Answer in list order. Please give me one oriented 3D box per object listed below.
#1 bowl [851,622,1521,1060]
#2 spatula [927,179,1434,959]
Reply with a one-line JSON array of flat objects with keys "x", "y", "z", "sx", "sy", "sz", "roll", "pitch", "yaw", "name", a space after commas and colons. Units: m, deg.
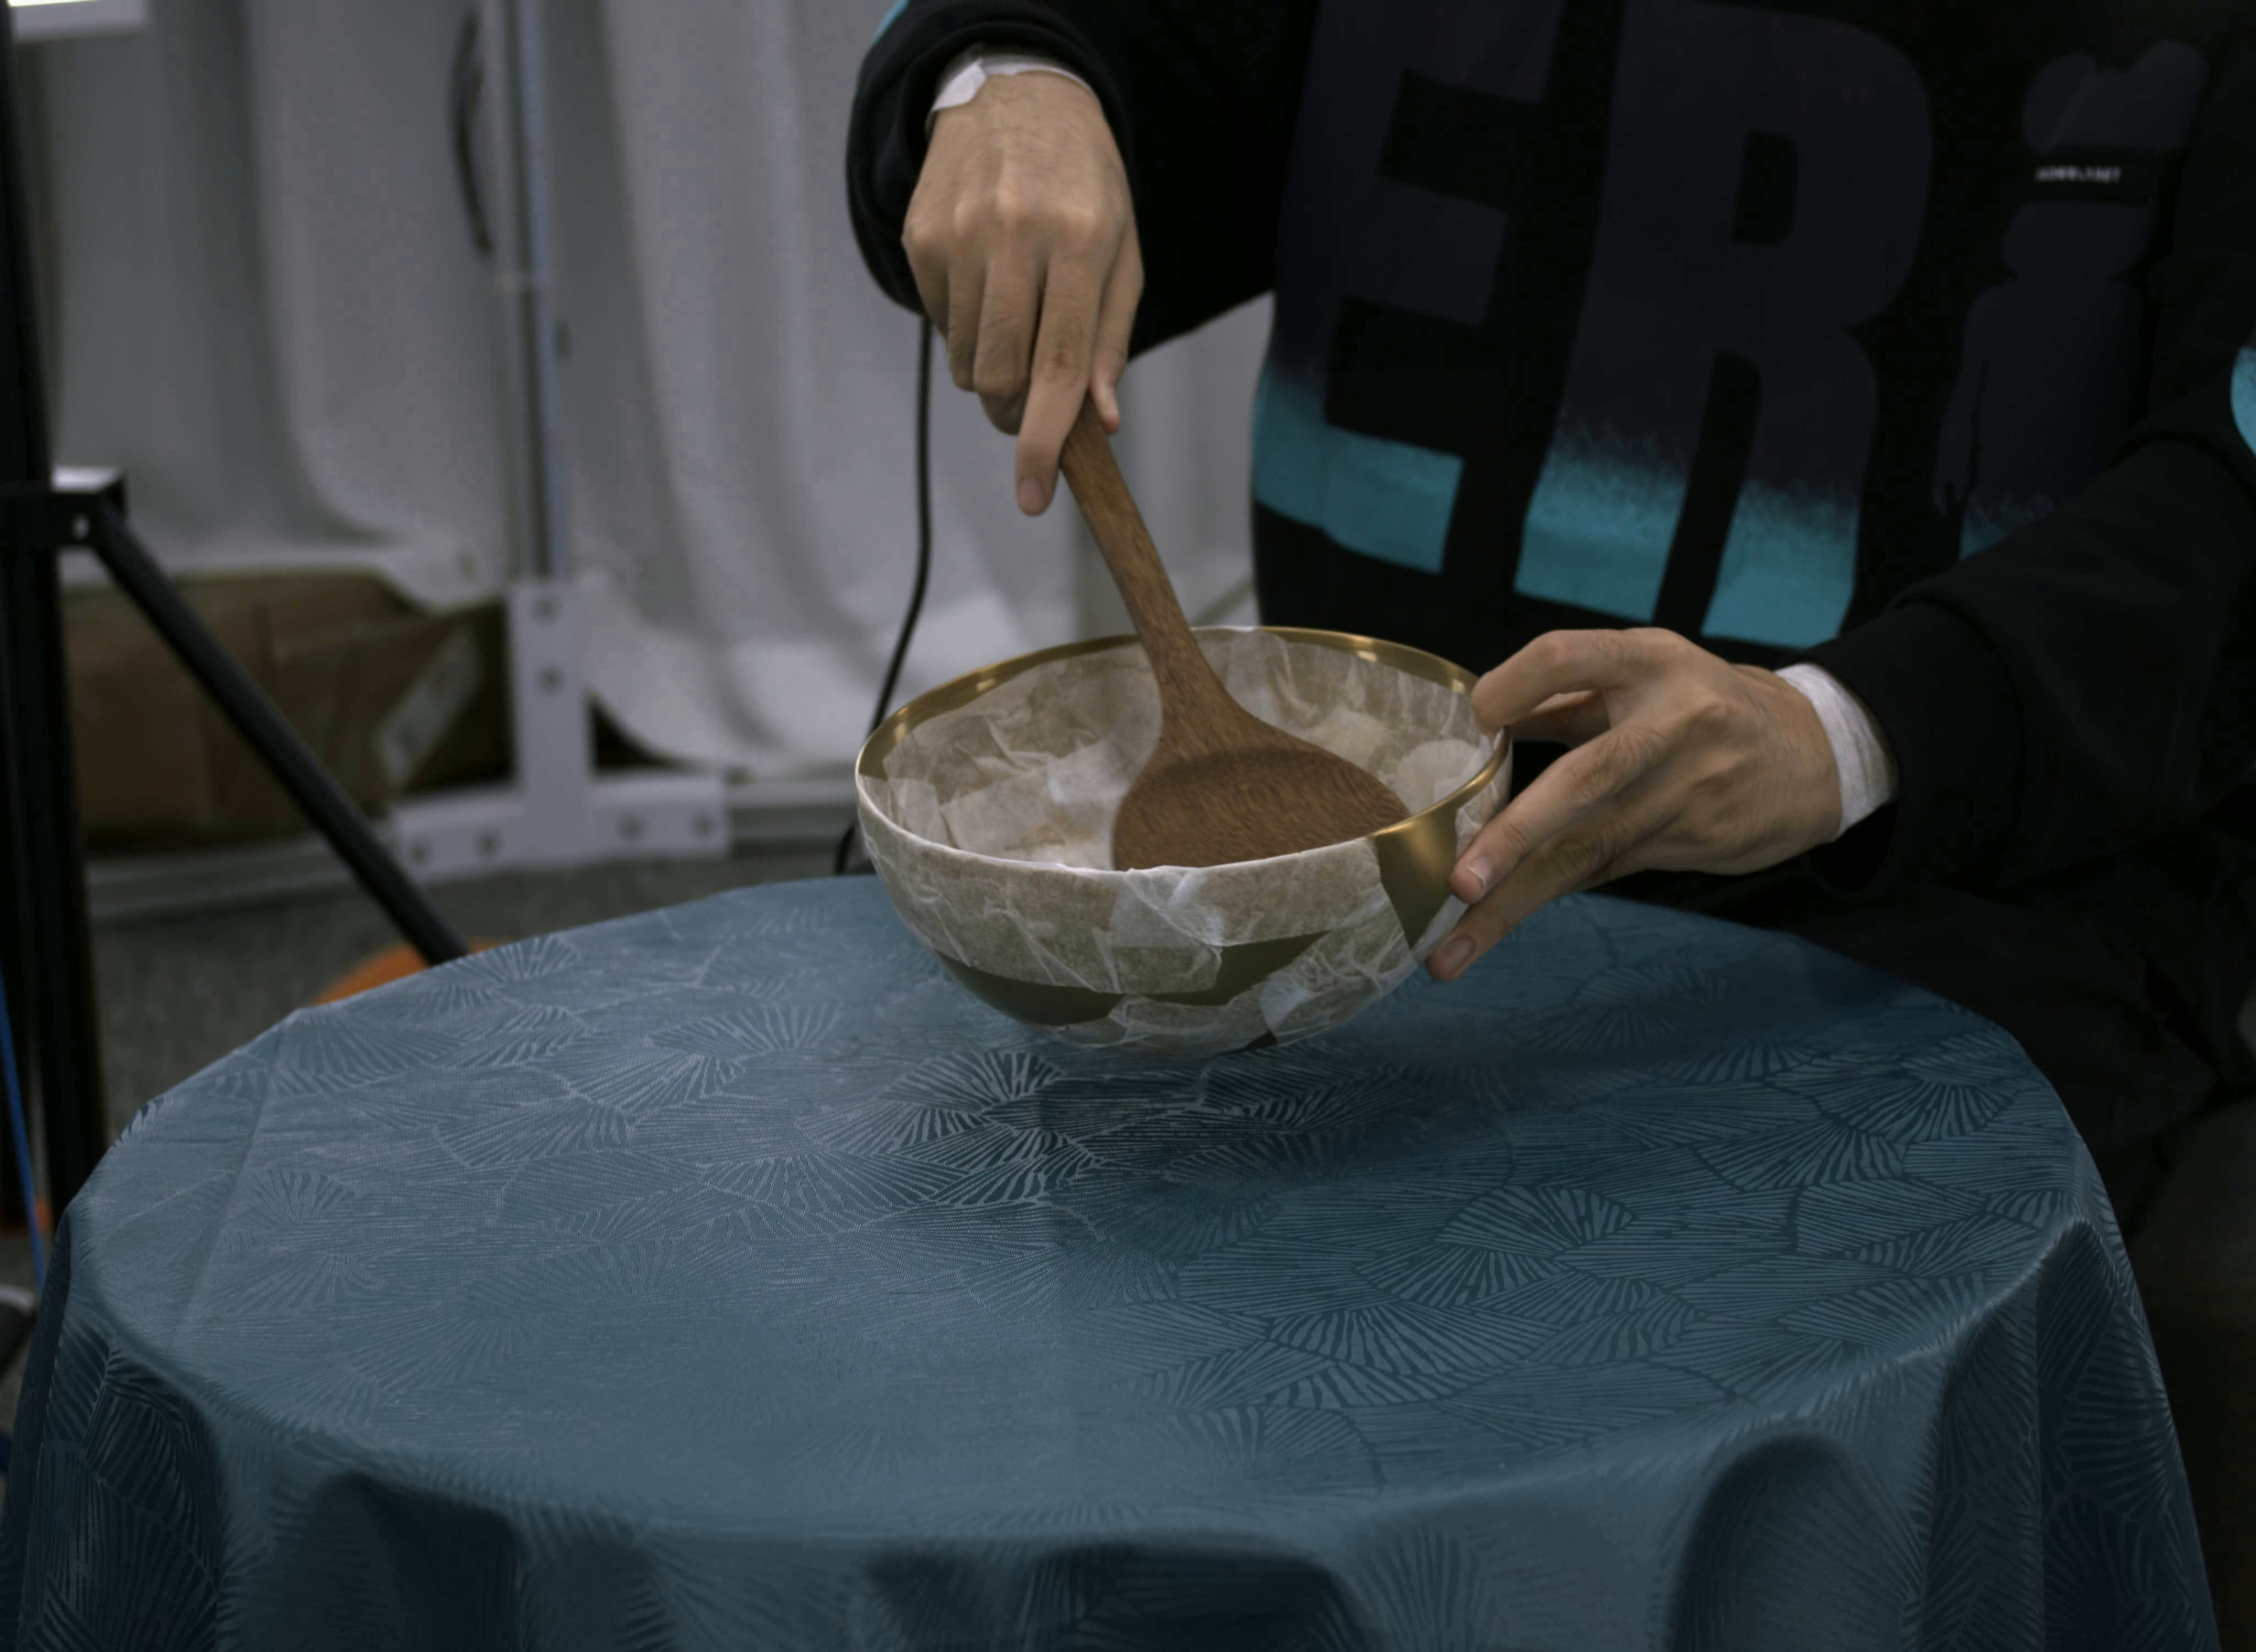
[{"x": 0.021, "y": 0.015, "z": 1.631, "sx": 0.214, "sy": 0.094, "sz": 0.216, "roll": -6, "pitch": 20, "yaw": 1, "name": "bowl"}, {"x": -0.004, "y": -0.092, "z": 1.686, "sx": 0.095, "sy": 0.015, "sz": 0.393, "roll": -12, "pitch": 45, "yaw": -11, "name": "spatula"}]
